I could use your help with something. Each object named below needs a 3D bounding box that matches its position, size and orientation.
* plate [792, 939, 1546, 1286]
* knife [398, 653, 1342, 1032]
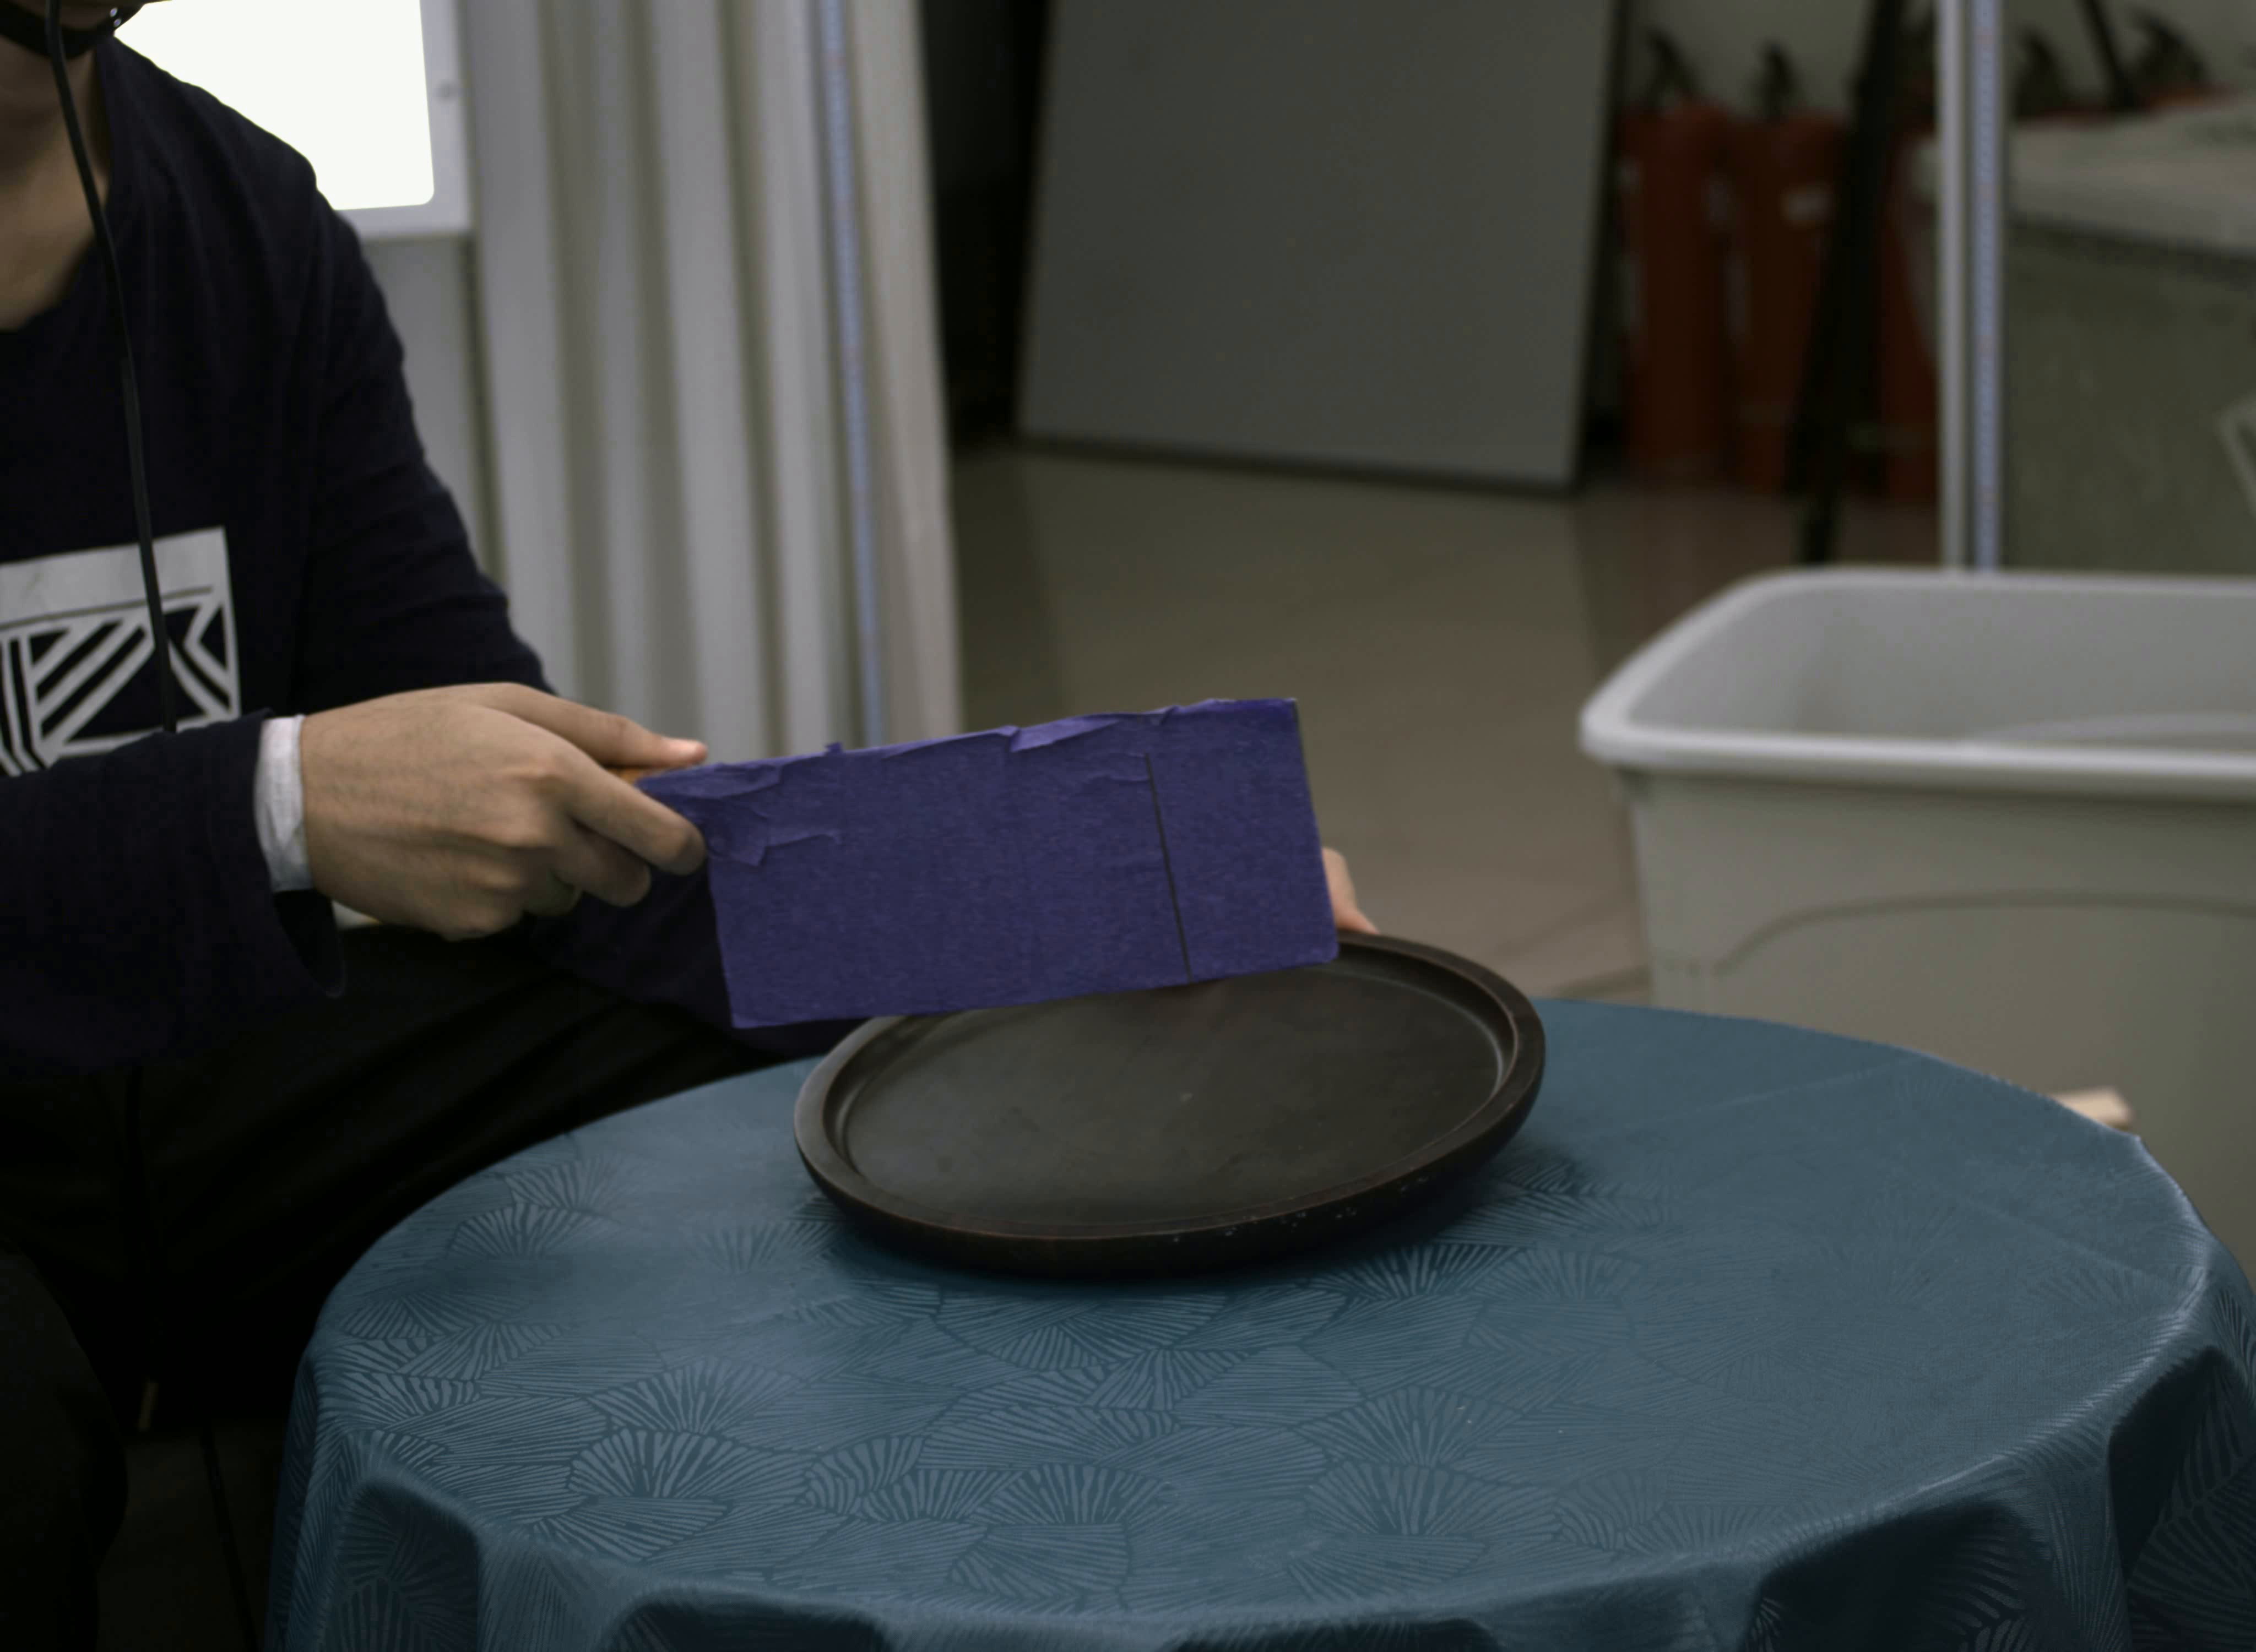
[{"bbox_3d":[0.014,0.092,1.783,0.252,0.029,0.255,-7,21,2],"label":"plate"},{"bbox_3d":[-0.086,0.017,1.761,0.314,0.105,0.032,-8,5,18],"label":"knife"}]
